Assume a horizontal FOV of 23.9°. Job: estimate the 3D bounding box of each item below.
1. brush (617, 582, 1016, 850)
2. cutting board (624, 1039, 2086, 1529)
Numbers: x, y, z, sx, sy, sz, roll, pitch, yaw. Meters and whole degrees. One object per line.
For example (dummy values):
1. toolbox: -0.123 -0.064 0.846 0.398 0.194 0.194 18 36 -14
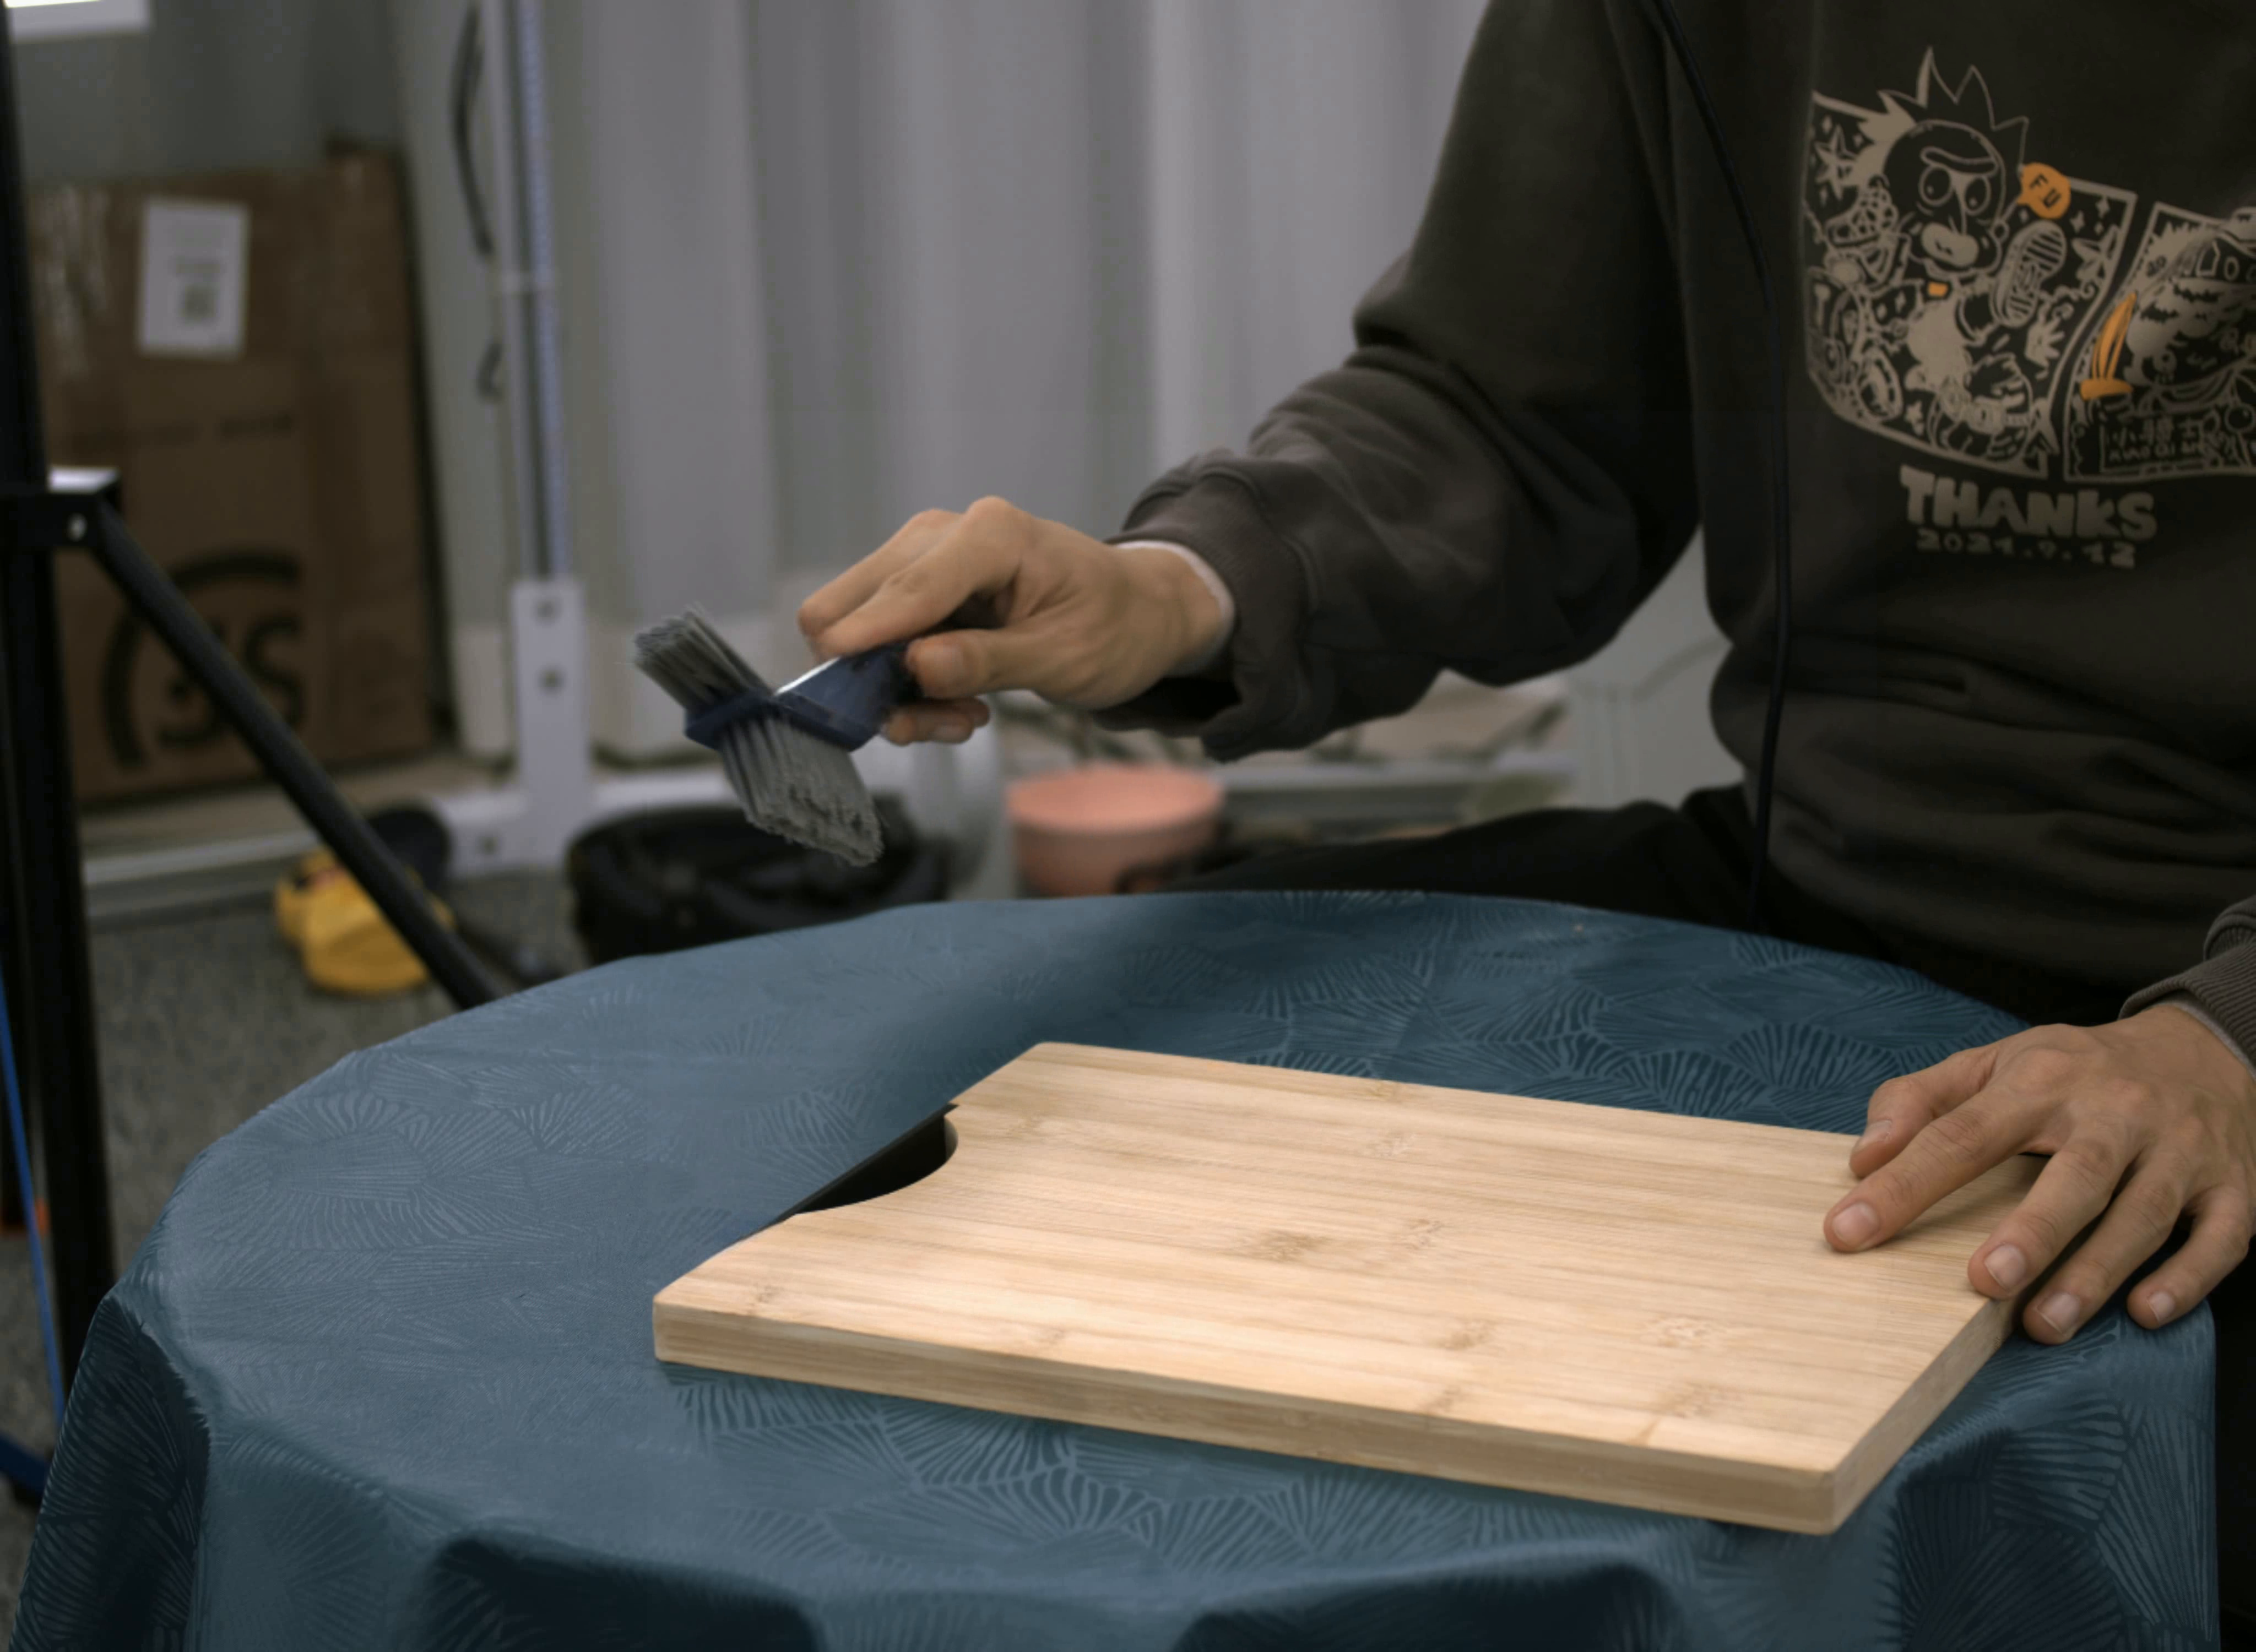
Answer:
1. brush: -0.088 -0.049 1.628 0.034 0.096 0.271 -31 4 14
2. cutting board: 0.067 0.121 1.475 0.354 0.023 0.247 5 17 26
